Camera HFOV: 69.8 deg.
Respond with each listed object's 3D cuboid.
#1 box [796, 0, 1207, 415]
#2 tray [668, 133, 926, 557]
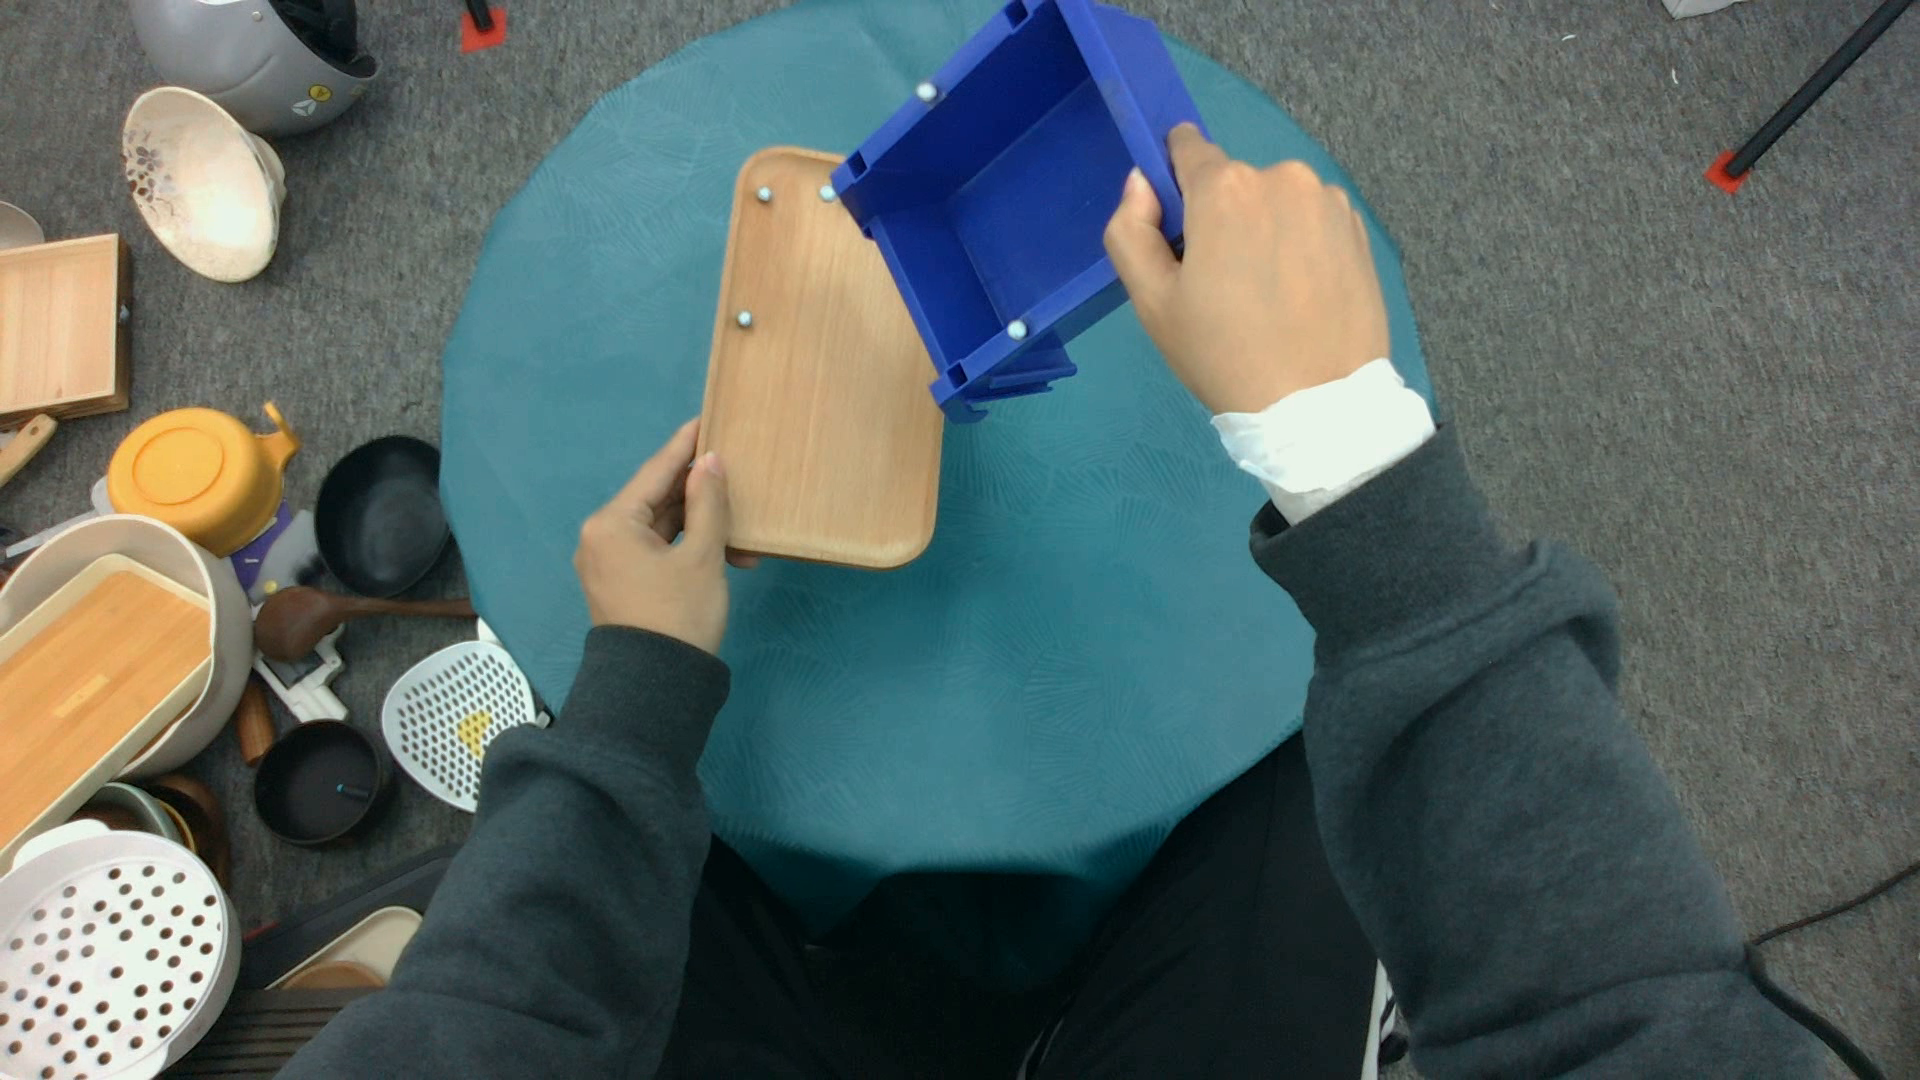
[{"bbox_3d":[0.013,-0.144,0.622,0.082,0.178,0.124,-16,81,-55],"label":"box"},{"bbox_3d":[-0.080,-0.110,0.746,0.130,0.023,0.251,7,67,-8],"label":"tray"}]
